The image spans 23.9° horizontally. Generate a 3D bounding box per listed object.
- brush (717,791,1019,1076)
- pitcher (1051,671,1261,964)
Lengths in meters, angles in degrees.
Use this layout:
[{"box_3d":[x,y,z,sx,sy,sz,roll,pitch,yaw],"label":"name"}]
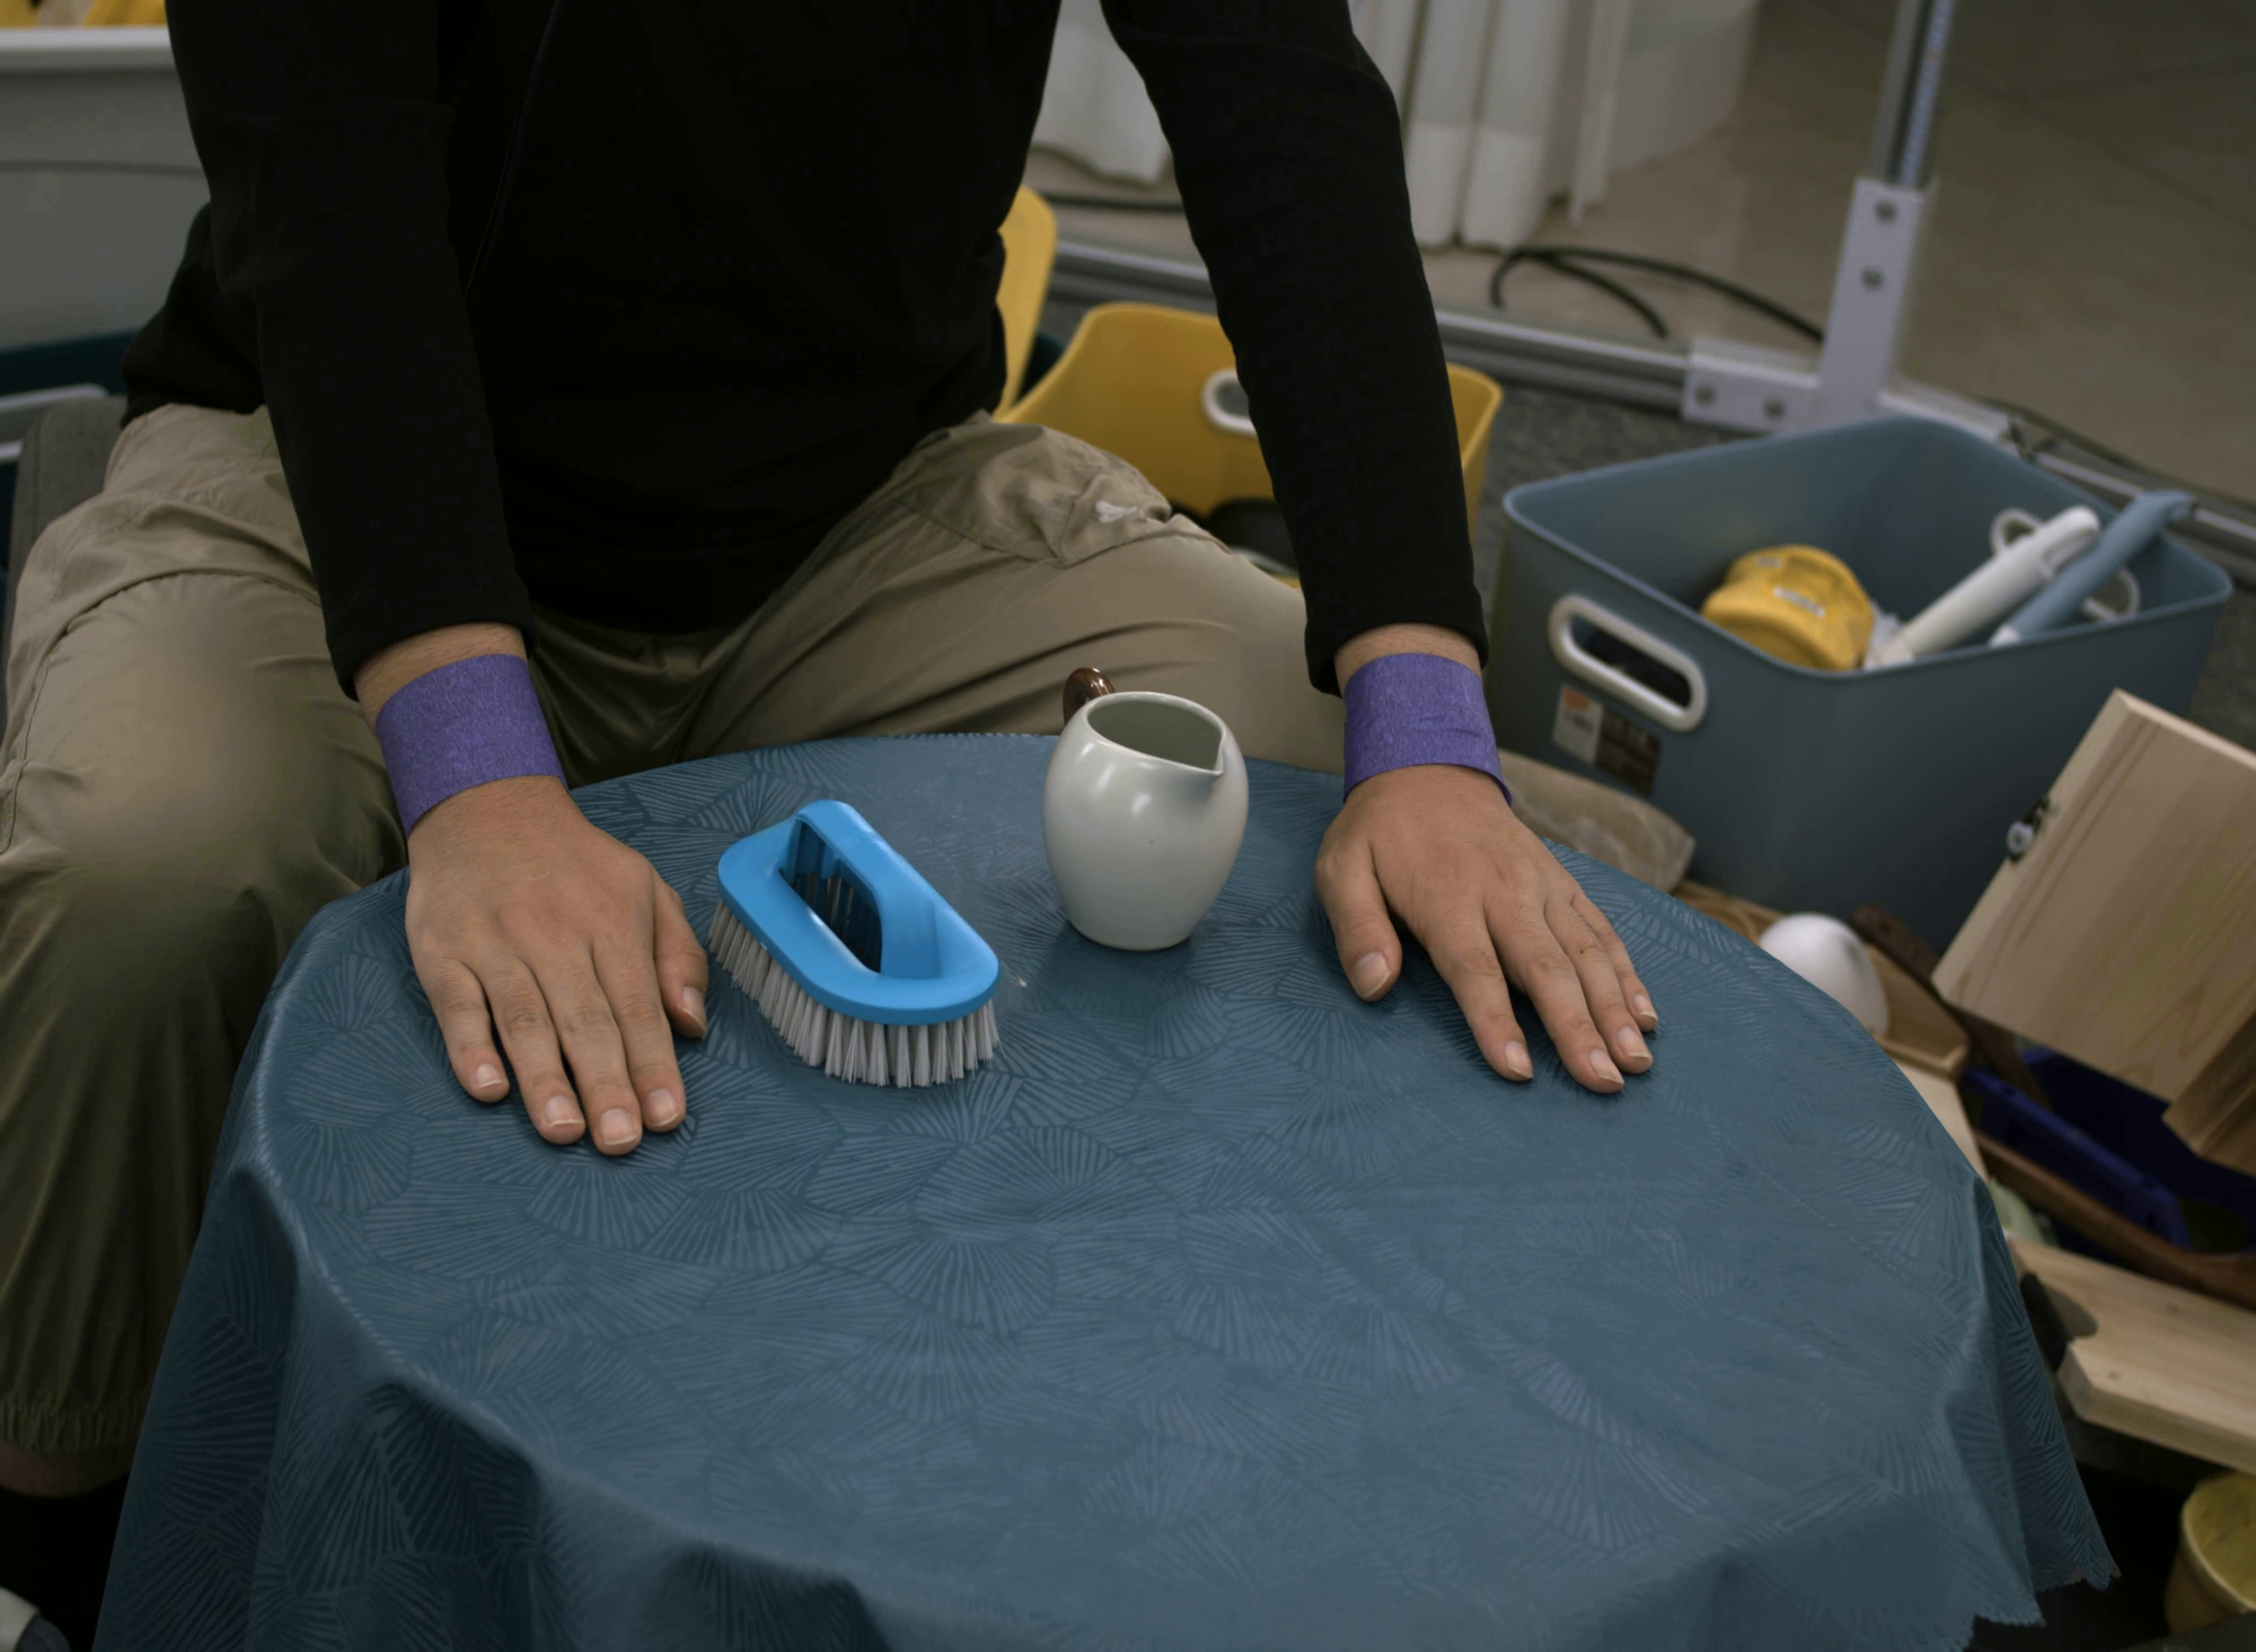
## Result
[{"box_3d":[-0.094,0.030,1.891,0.084,0.063,0.143,-12,31,-24],"label":"brush"},{"box_3d":[0.006,-0.002,1.952,0.075,0.087,0.120,0,30,-24],"label":"pitcher"}]
